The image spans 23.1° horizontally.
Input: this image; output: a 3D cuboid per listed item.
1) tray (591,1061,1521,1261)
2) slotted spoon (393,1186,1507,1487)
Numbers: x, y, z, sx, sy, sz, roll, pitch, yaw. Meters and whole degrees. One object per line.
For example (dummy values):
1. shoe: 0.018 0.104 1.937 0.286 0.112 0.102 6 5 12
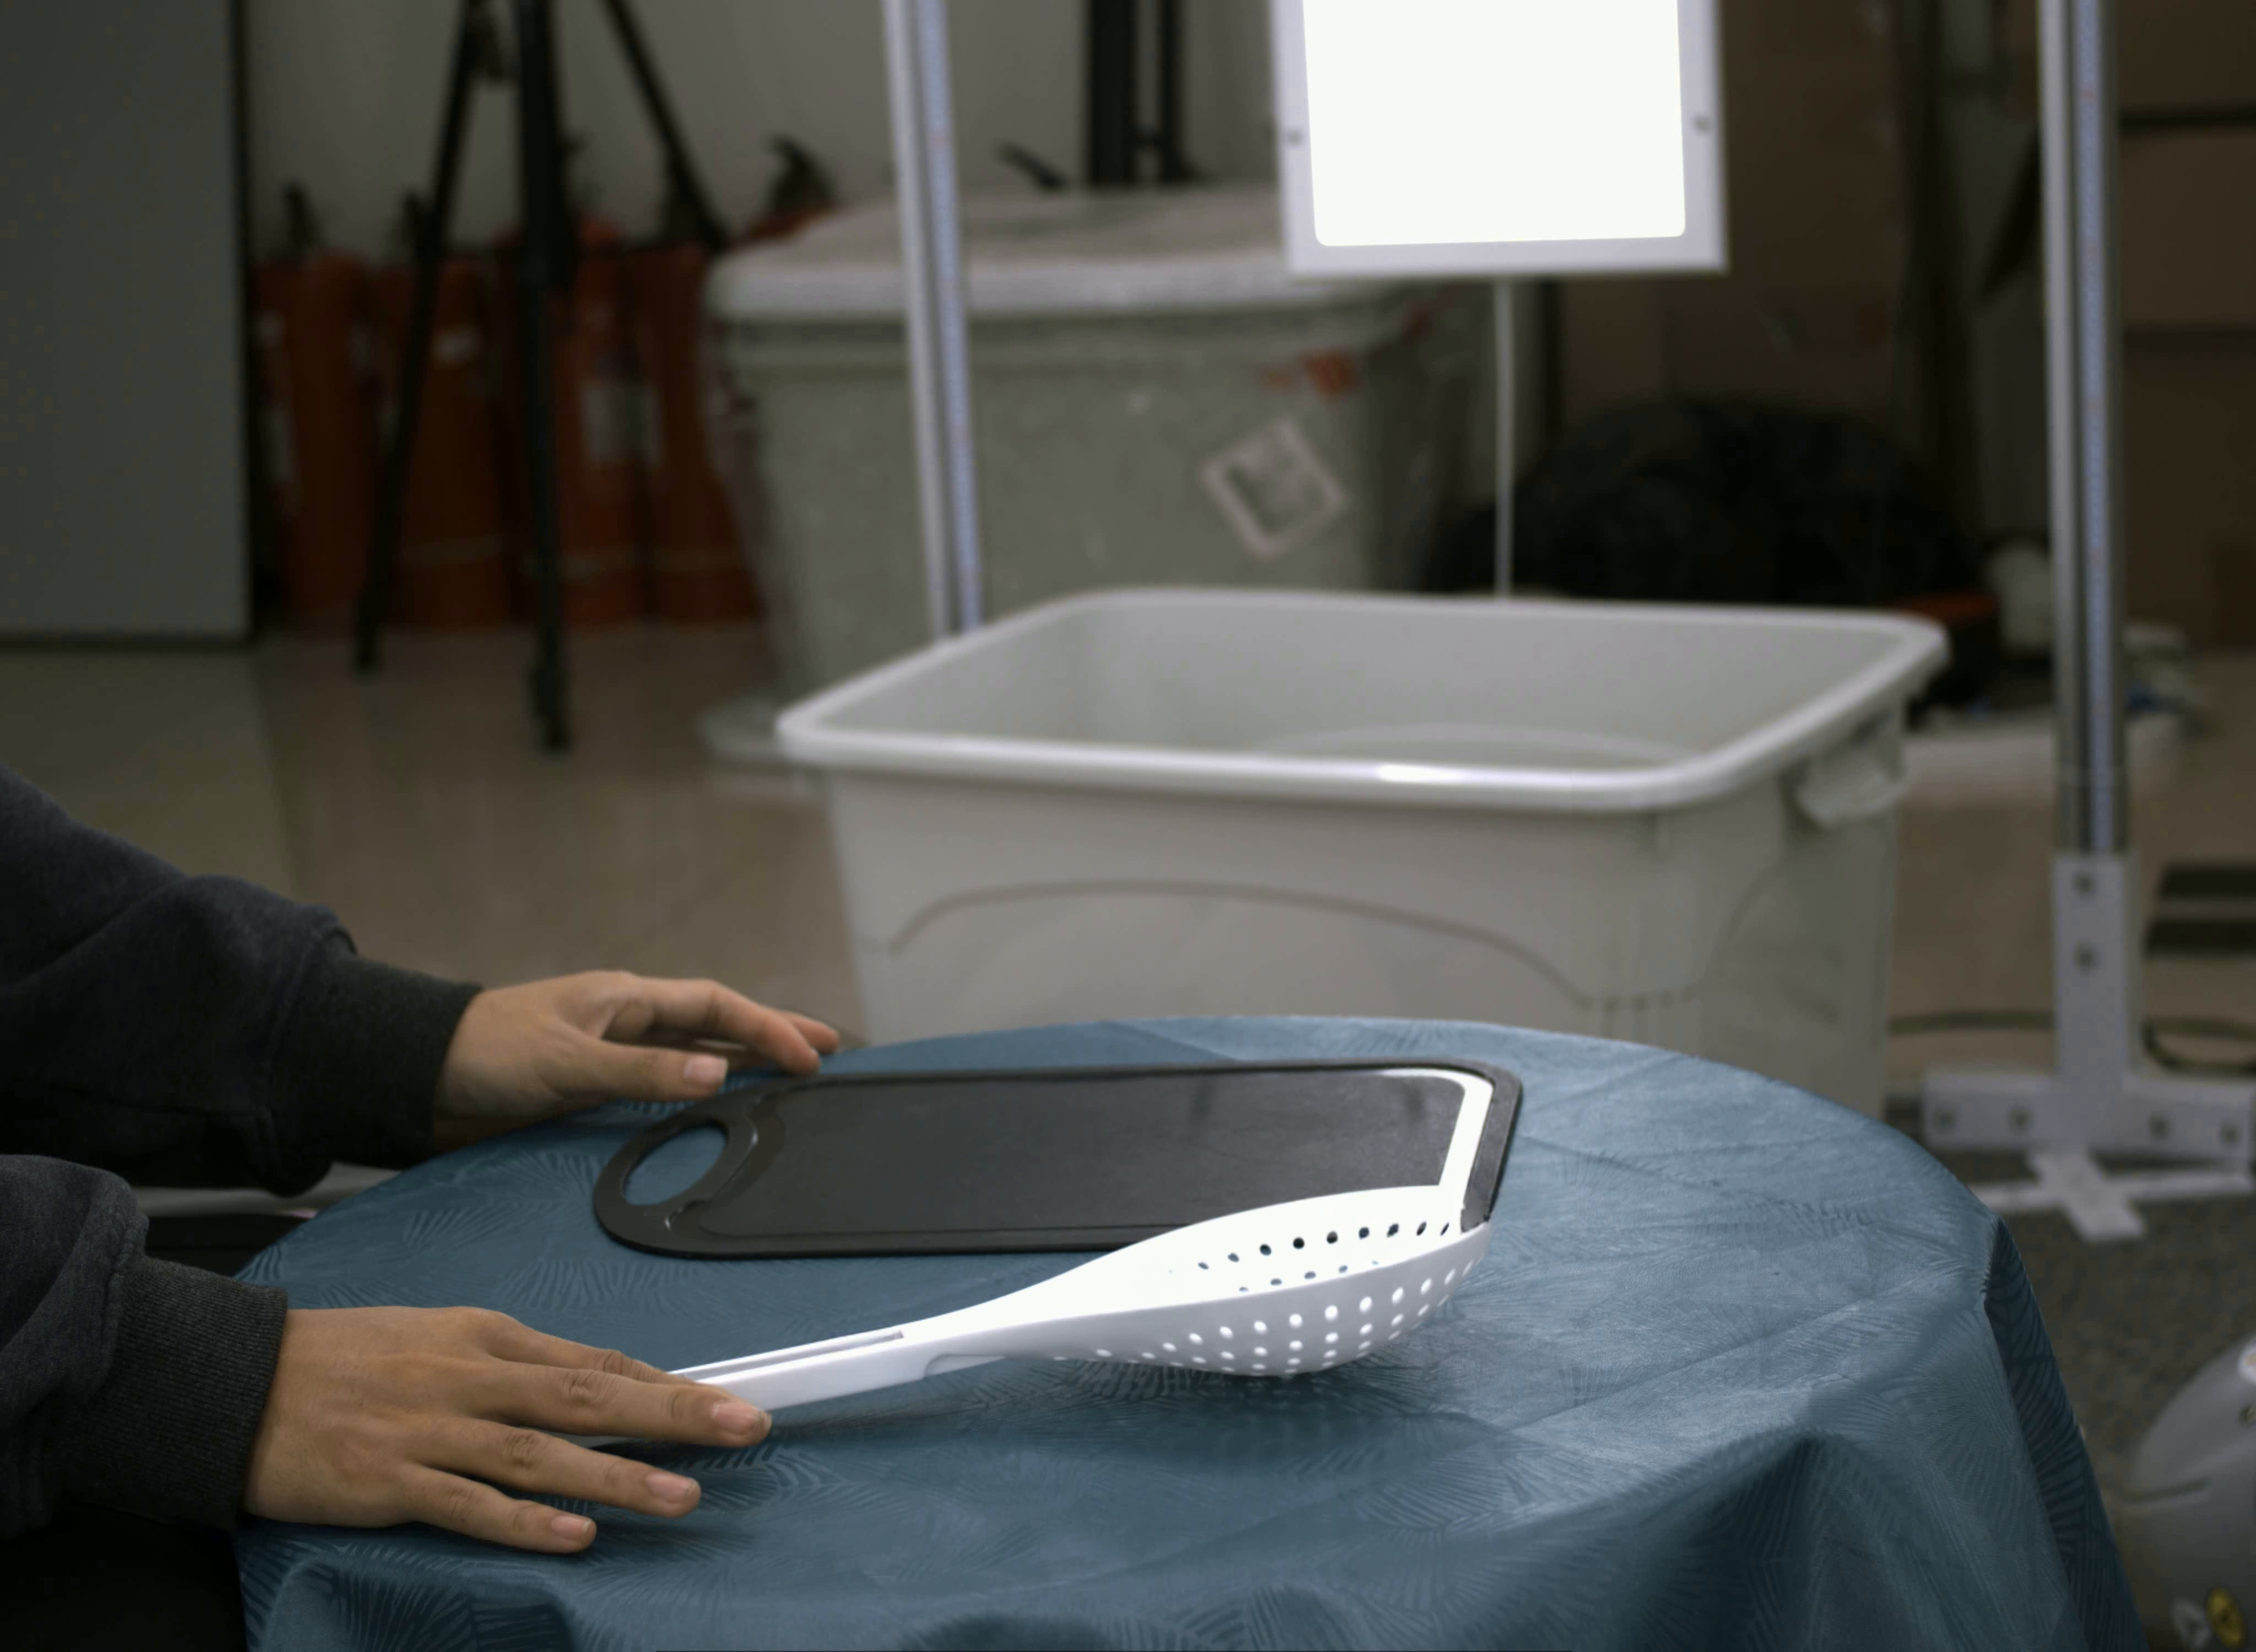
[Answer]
1. tray: -0.027 0.115 1.939 0.327 0.010 0.209 -2 14 12
2. slotted spoon: -0.052 0.157 1.692 0.347 0.046 0.136 -7 3 -5
